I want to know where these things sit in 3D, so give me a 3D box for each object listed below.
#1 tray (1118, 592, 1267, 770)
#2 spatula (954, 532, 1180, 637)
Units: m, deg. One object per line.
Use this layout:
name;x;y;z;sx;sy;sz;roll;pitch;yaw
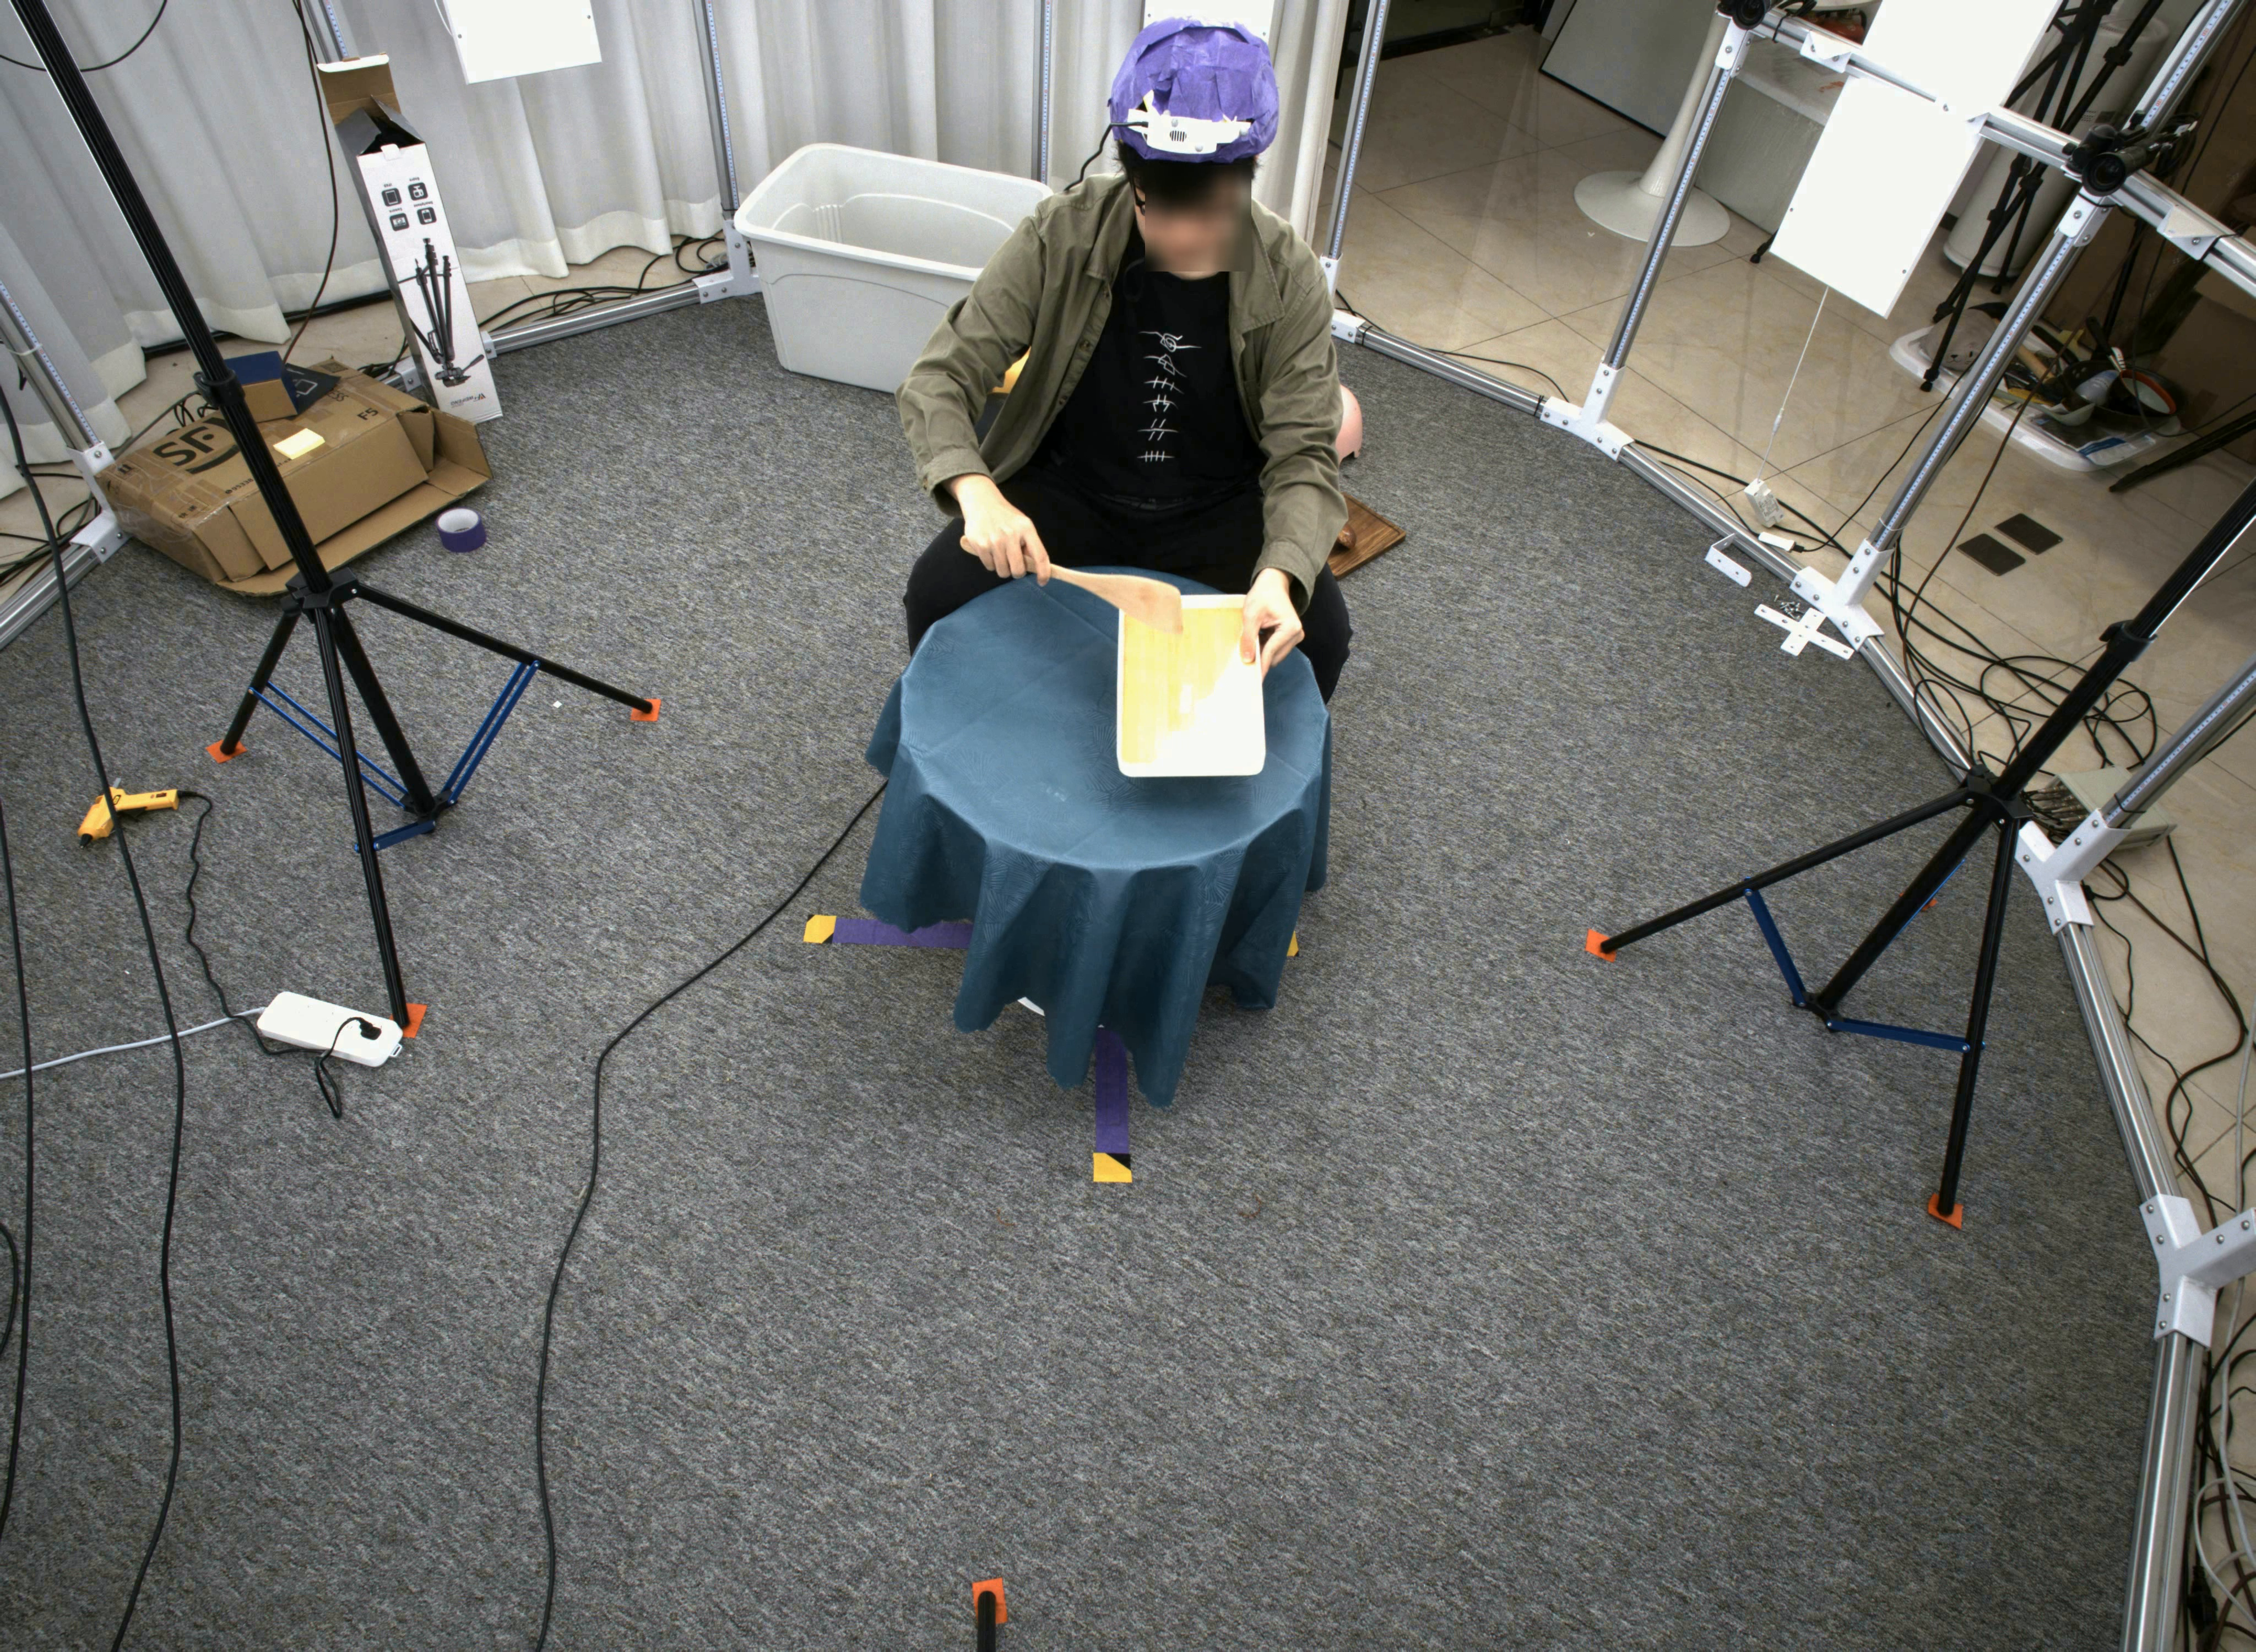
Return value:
tray;0.083;-0.200;1.720;0.191;0.027;0.307;0;52;1
spatula;-0.080;-0.330;1.700;0.328;0.078;0.017;19;49;9
